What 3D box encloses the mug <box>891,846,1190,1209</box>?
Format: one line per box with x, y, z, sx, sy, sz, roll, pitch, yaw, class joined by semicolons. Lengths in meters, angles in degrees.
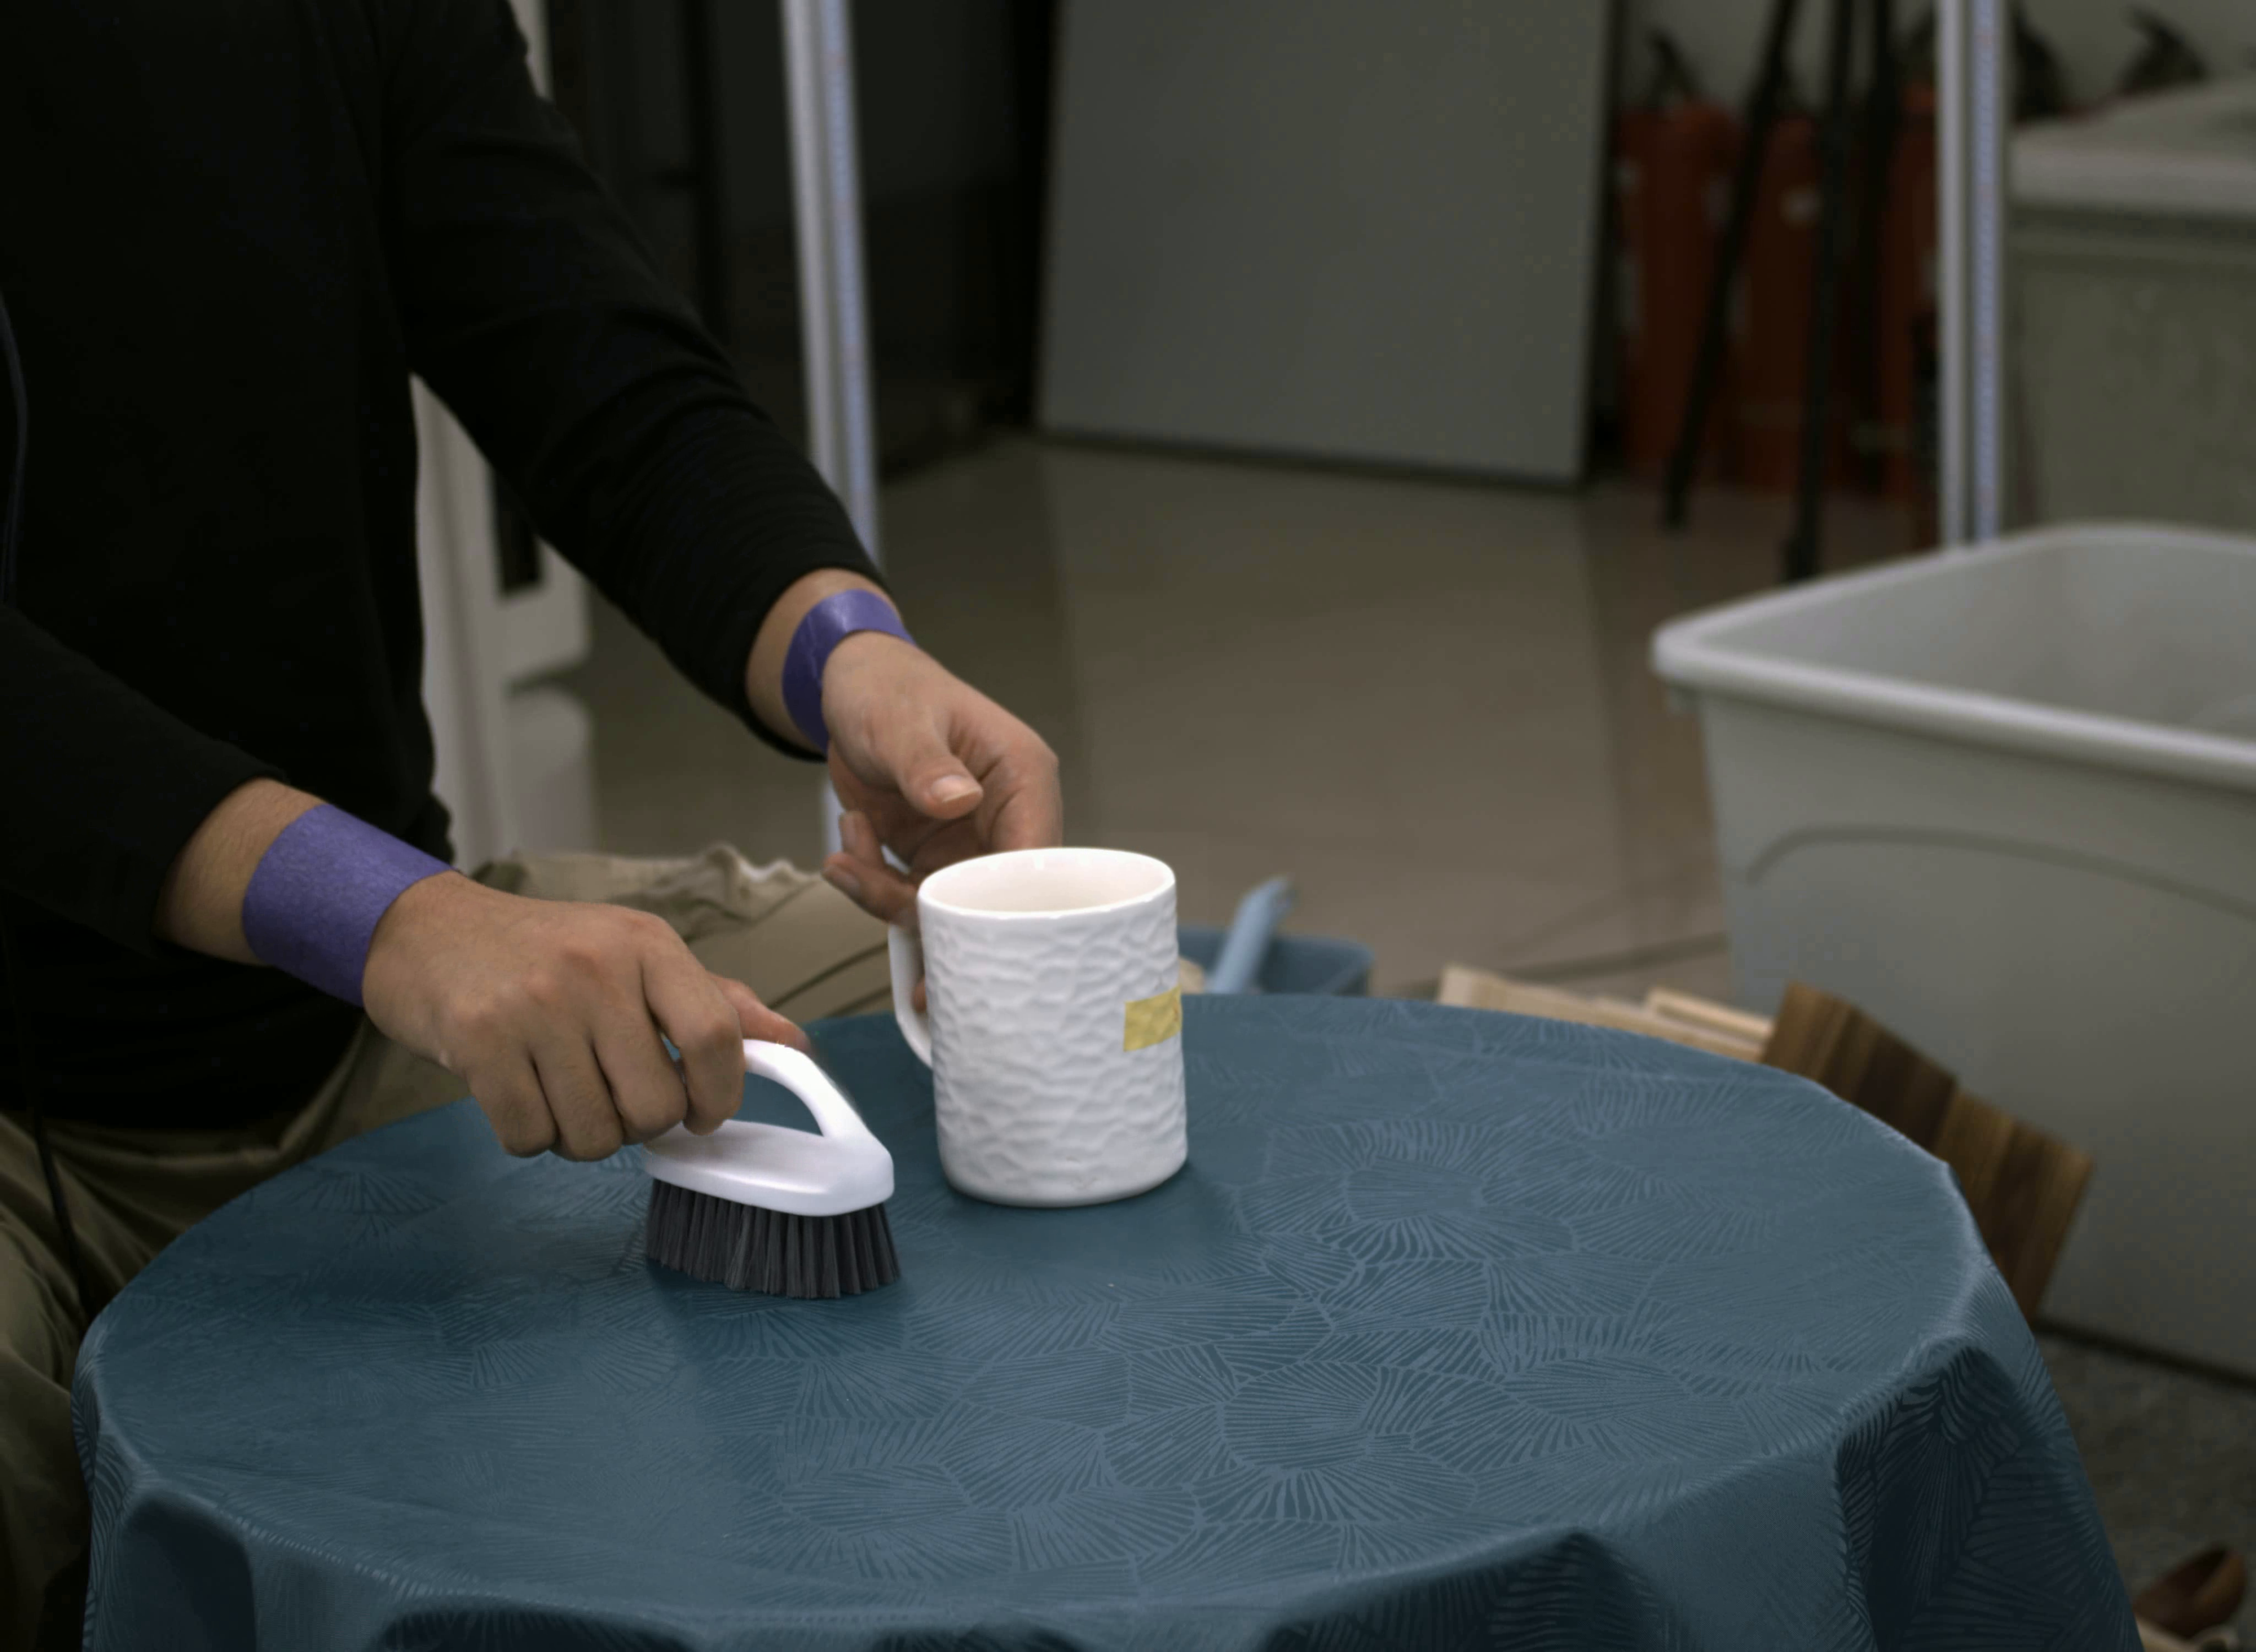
-0.034;0.064;1.792;0.083;0.103;0.119;-16;17;-42;mug

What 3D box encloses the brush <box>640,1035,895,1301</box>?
-0.116;0.104;1.714;0.049;0.073;0.100;-13;17;-41;brush
